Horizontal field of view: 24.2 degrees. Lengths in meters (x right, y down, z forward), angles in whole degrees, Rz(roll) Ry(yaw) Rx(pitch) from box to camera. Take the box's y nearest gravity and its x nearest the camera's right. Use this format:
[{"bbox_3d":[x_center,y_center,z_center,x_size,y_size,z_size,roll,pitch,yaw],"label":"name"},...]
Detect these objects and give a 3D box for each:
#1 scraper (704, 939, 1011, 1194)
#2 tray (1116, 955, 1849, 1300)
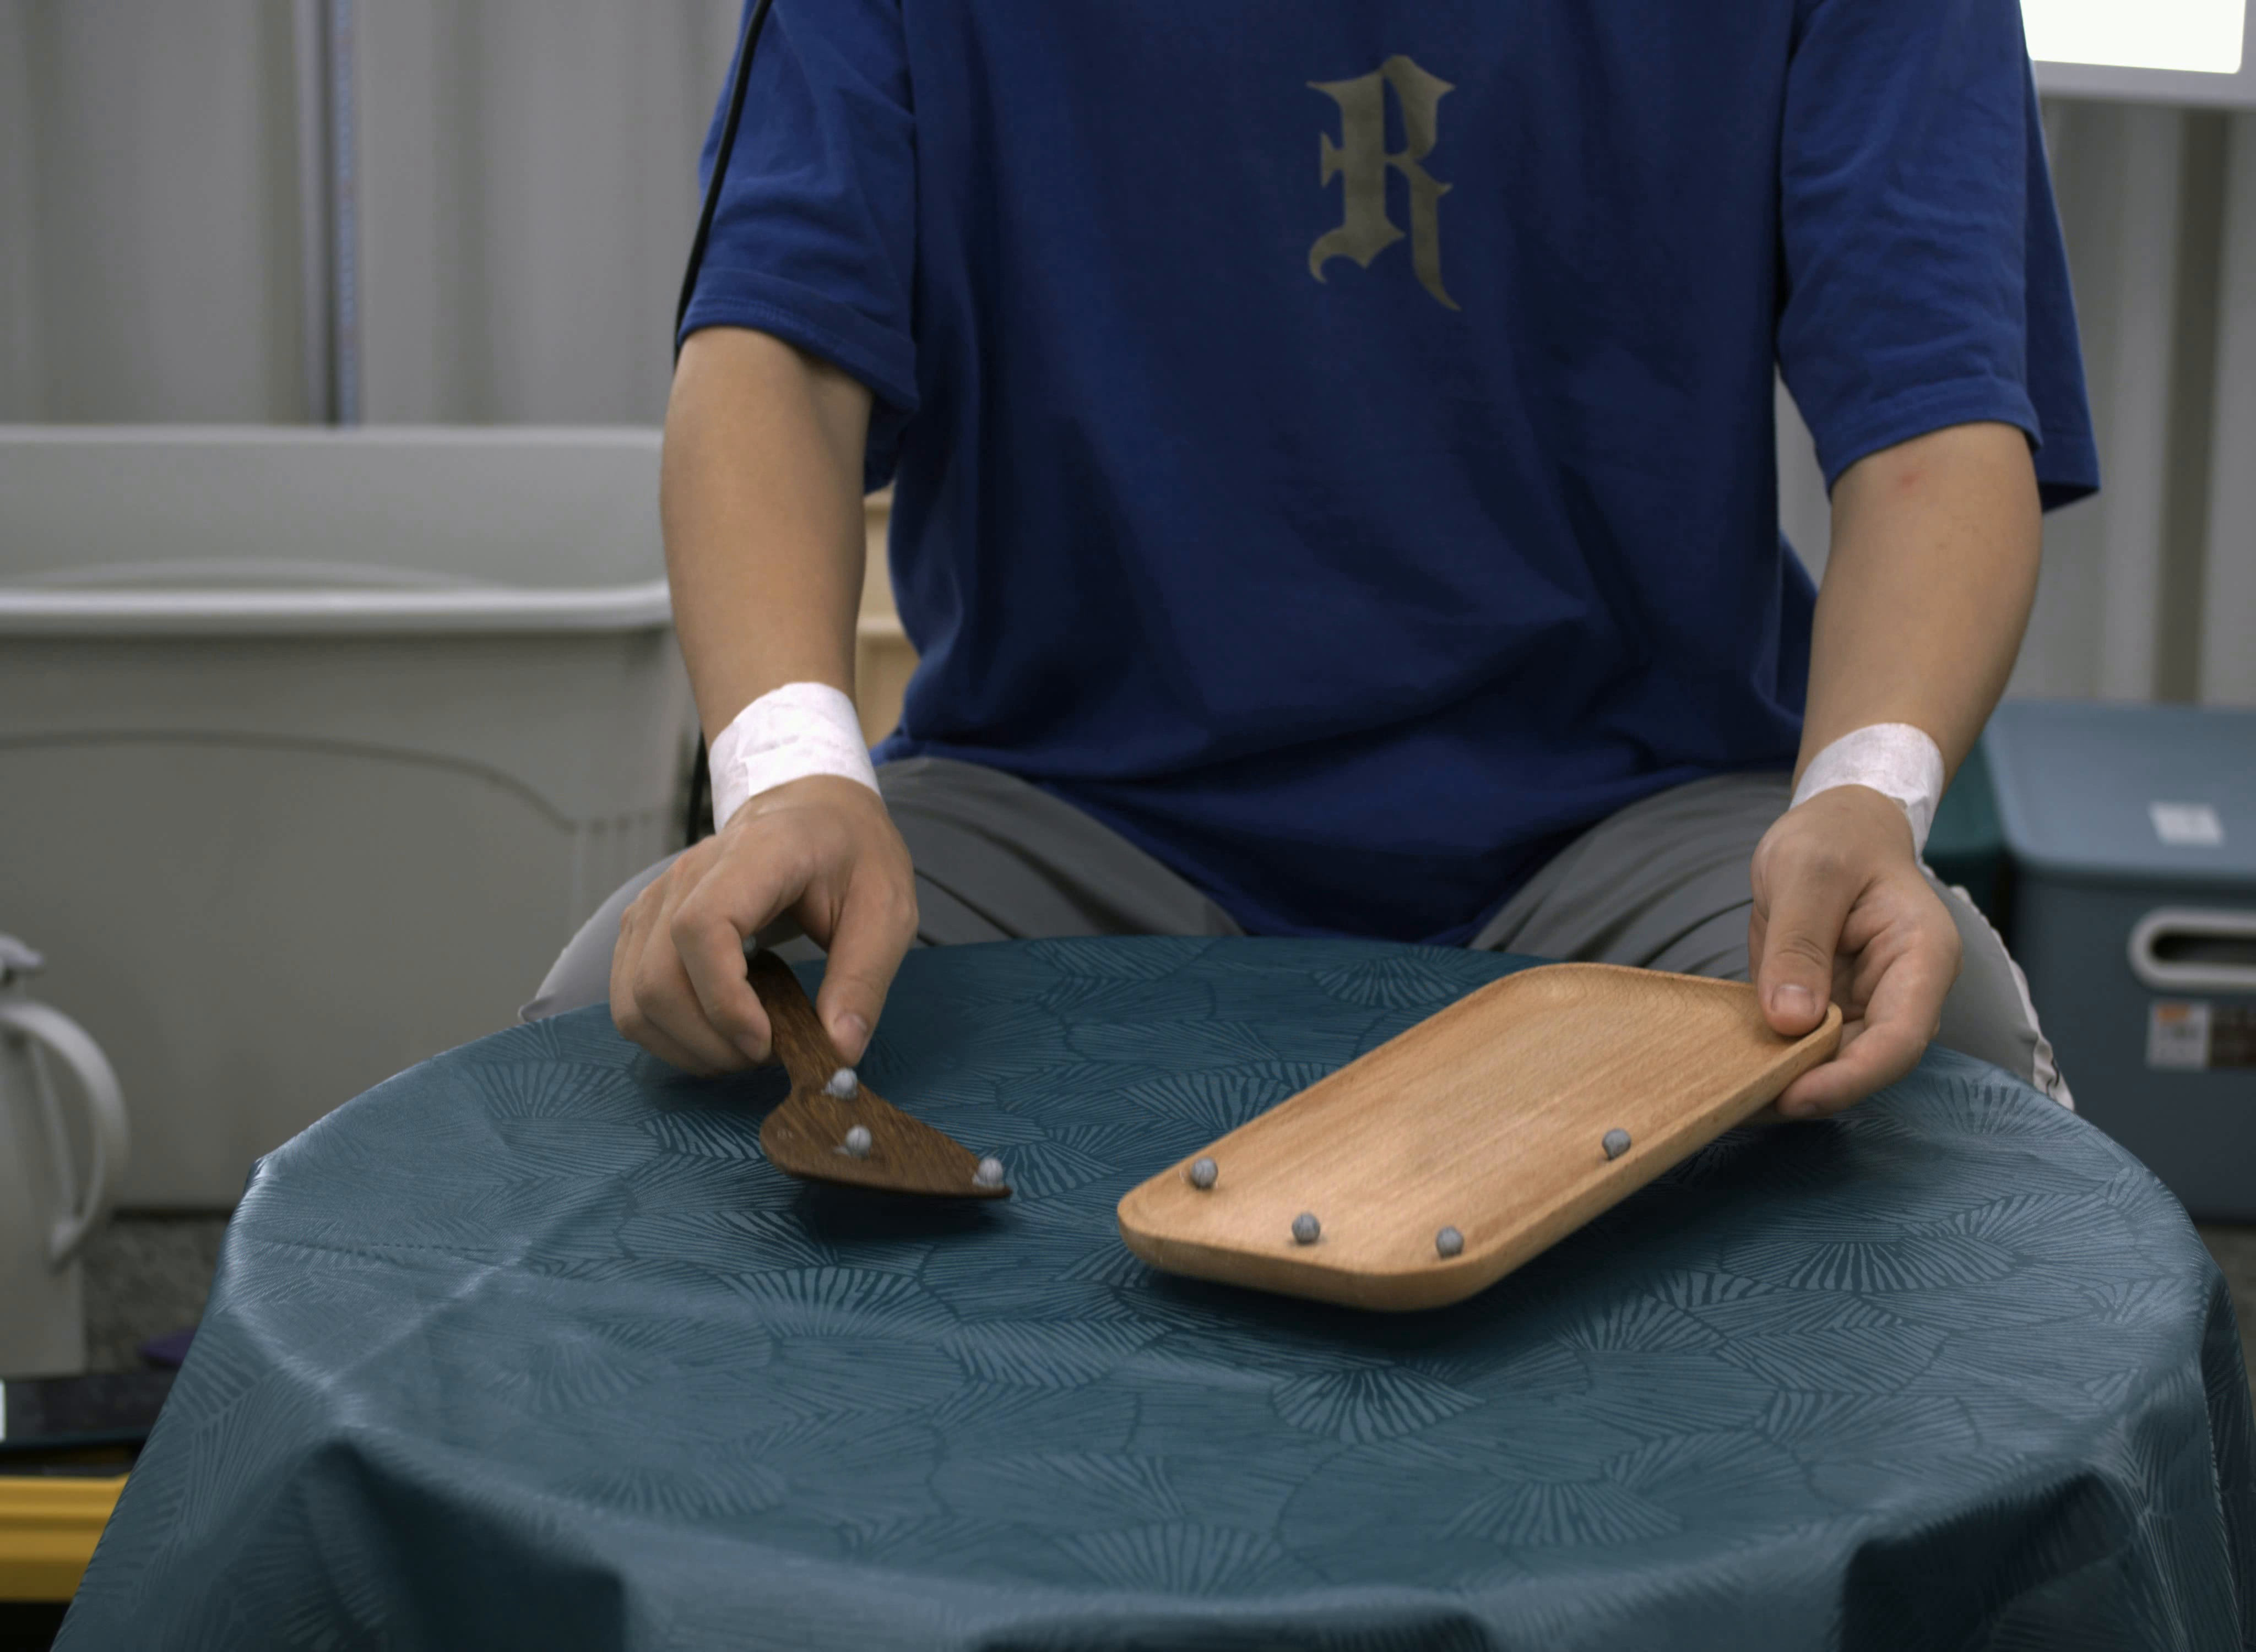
[{"bbox_3d":[-0.098,0.075,1.660,0.076,0.011,0.209,9,17,-21],"label":"scraper"},{"bbox_3d":[0.111,0.088,1.594,0.129,0.023,0.251,11,23,36],"label":"tray"}]
